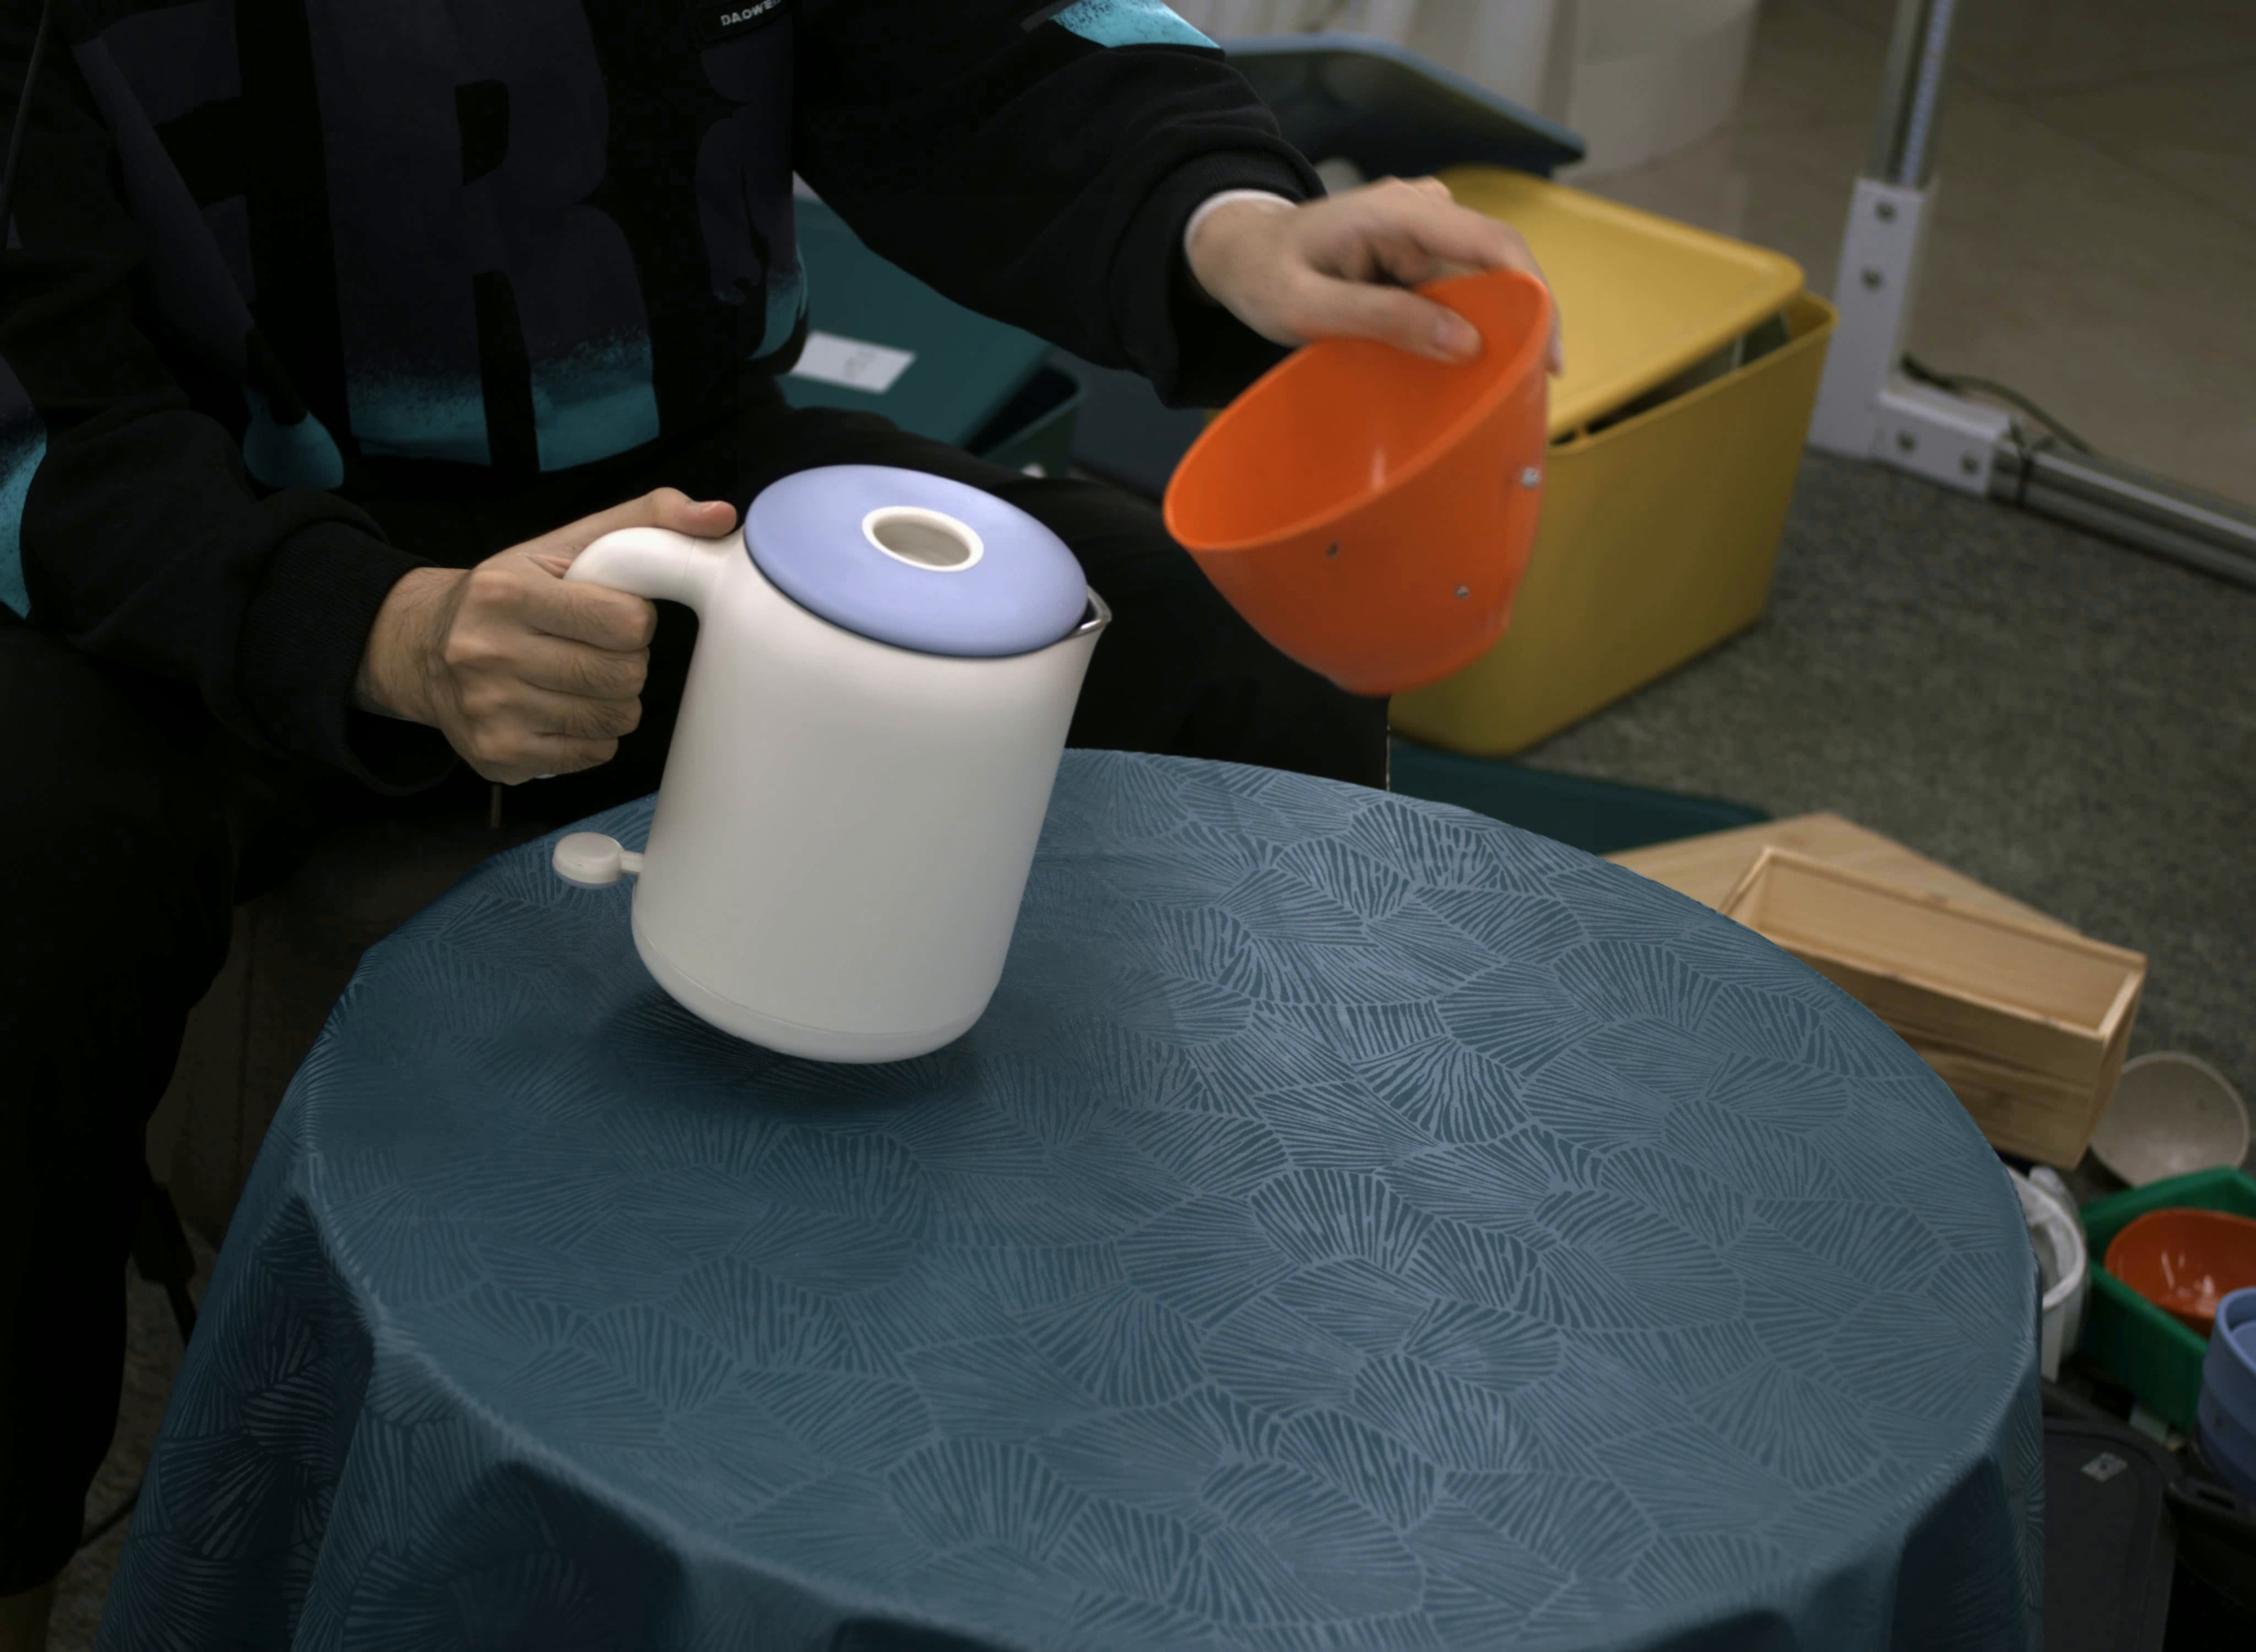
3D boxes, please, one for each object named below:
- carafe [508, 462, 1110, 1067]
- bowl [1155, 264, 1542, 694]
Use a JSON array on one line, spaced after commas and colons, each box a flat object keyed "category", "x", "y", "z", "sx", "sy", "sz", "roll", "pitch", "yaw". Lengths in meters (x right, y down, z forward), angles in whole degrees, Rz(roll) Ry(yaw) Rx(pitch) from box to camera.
[{"category": "carafe", "x": -0.114, "y": -0.026, "z": 1.818, "sx": 0.190, "sy": 0.182, "sz": 0.133, "roll": 11, "pitch": 28, "yaw": -3}, {"category": "bowl", "x": 0.088, "y": -0.107, "z": 1.768, "sx": 0.148, "sy": 0.104, "sz": 0.149, "roll": -22, "pitch": 26, "yaw": 11}]
